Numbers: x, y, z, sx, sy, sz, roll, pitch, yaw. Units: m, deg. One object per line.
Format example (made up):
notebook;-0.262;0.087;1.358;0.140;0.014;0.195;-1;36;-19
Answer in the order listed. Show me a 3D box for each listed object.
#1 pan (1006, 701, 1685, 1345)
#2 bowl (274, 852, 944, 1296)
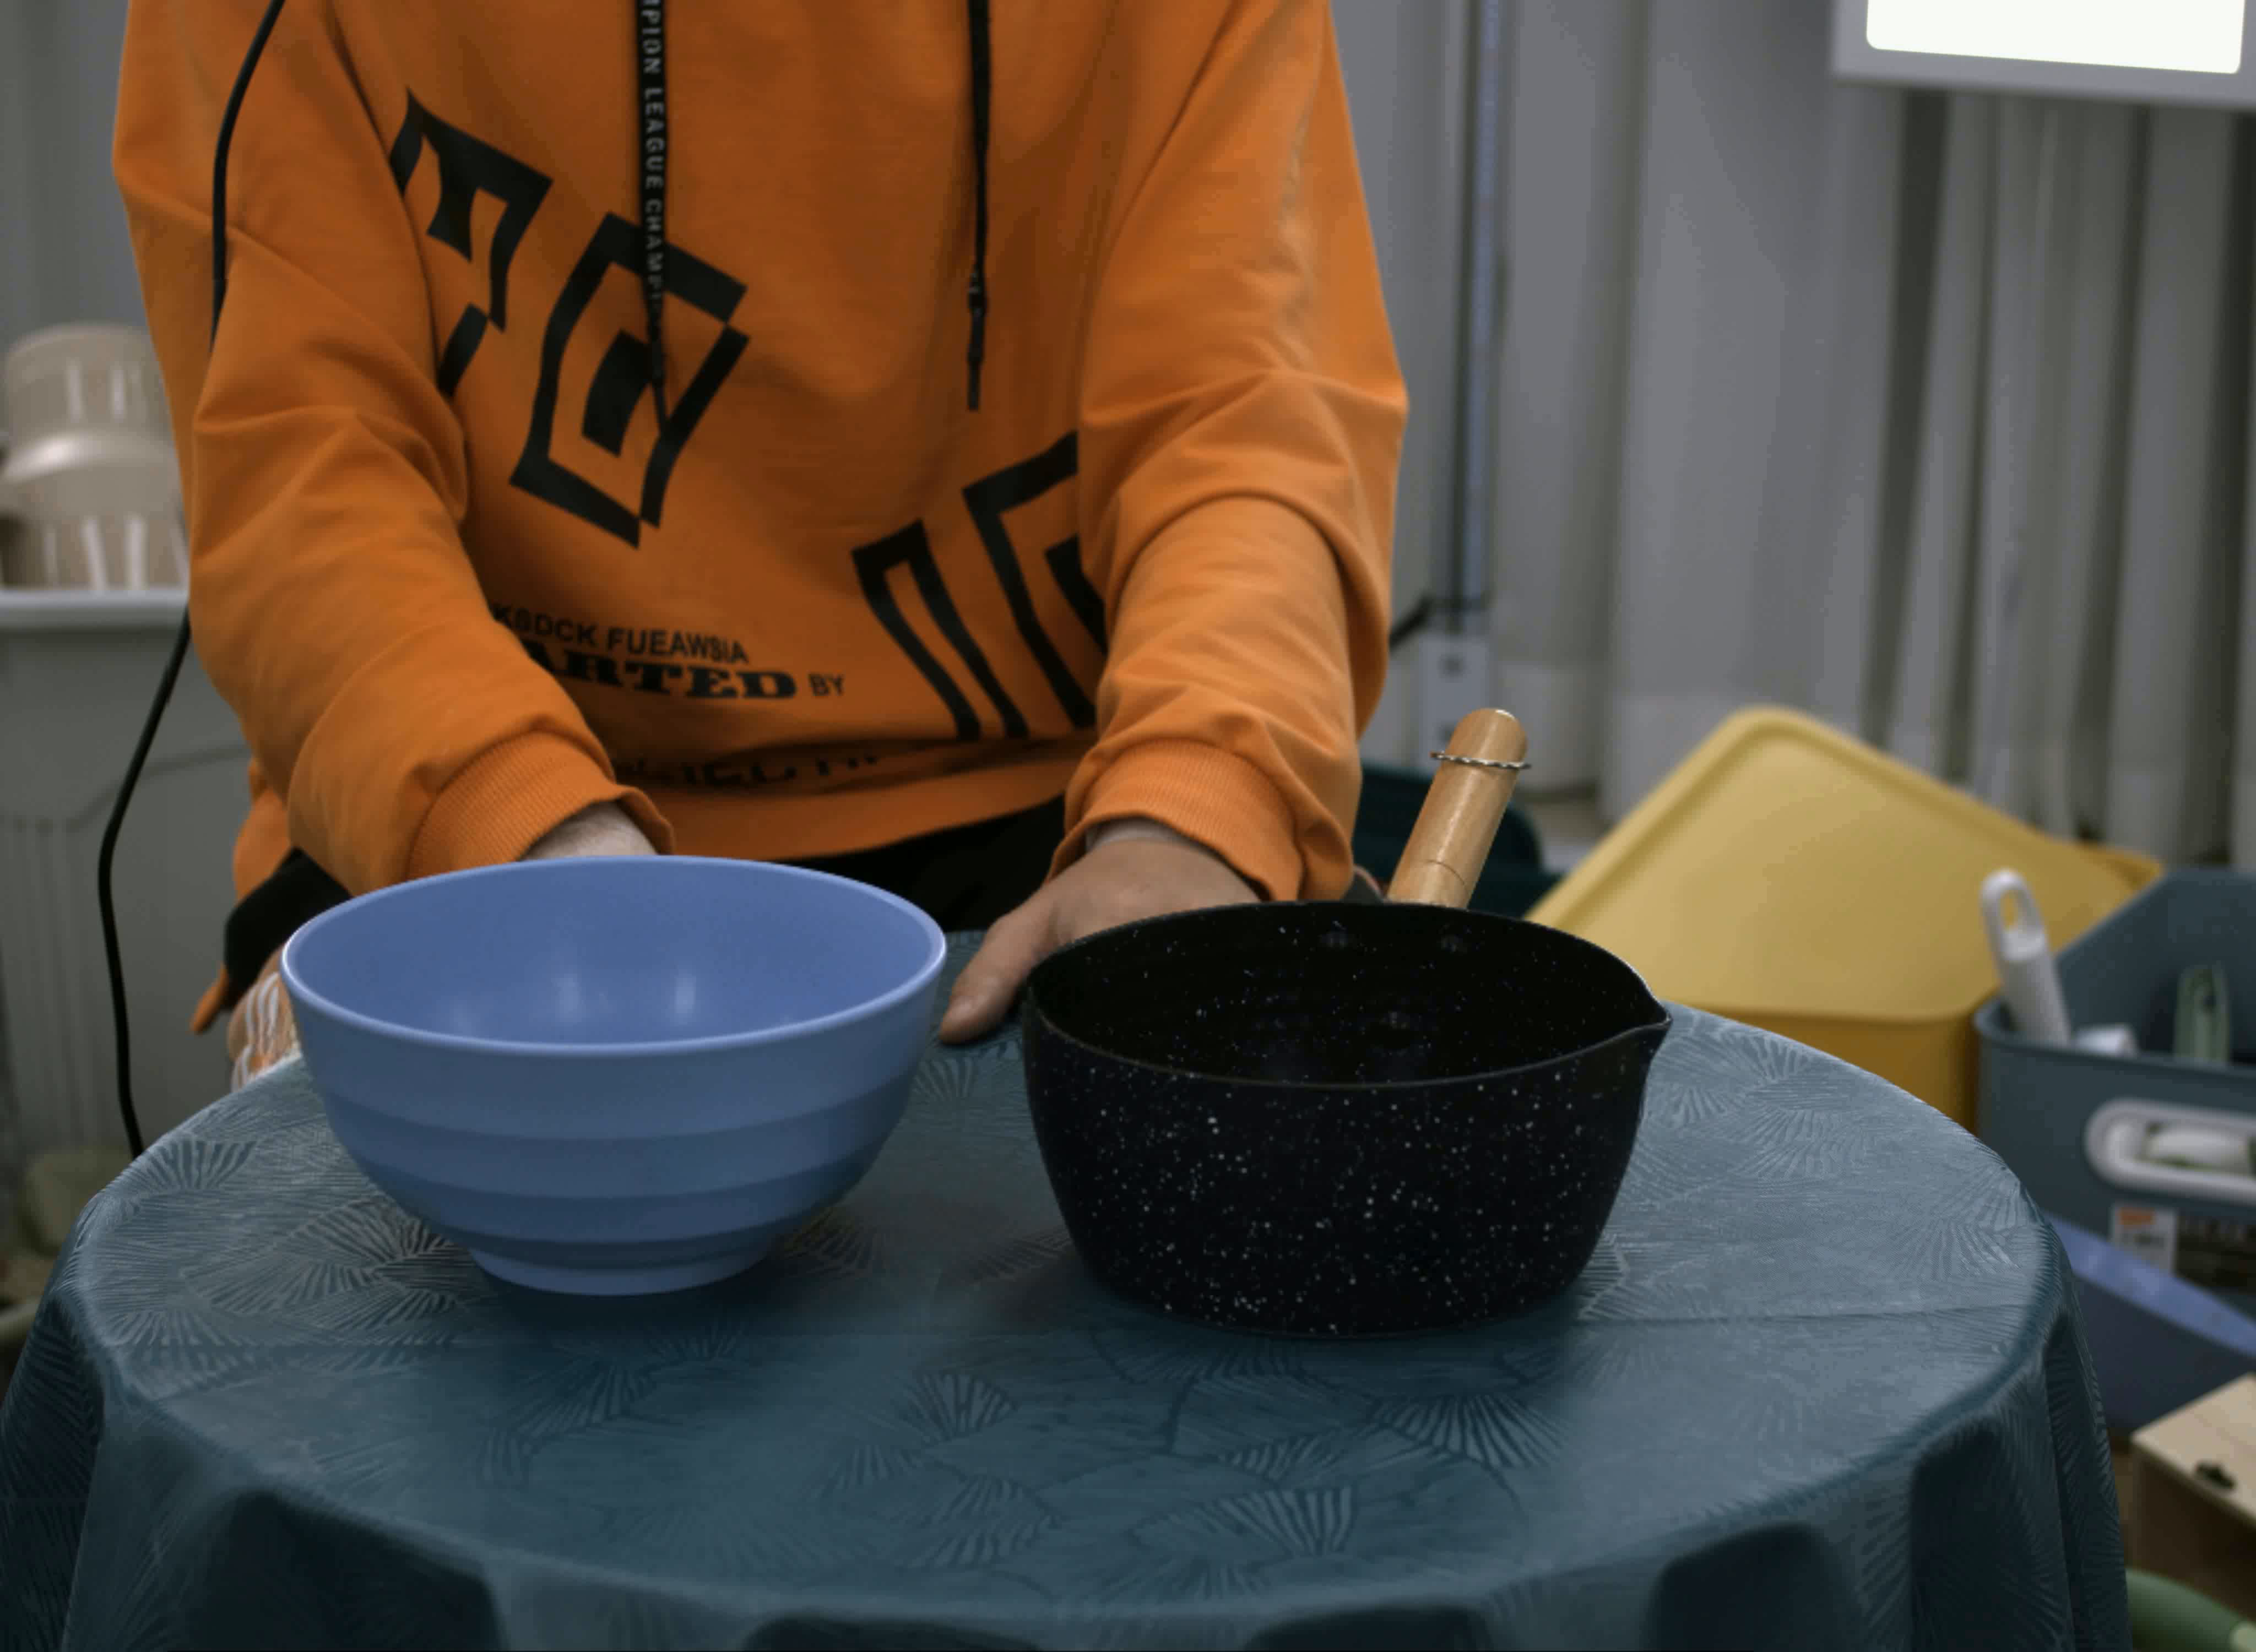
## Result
pan;0.080;0.055;1.628;0.206;0.109;0.342;2;17;13
bowl;-0.151;0.079;1.559;0.196;0.096;0.195;0;16;1
